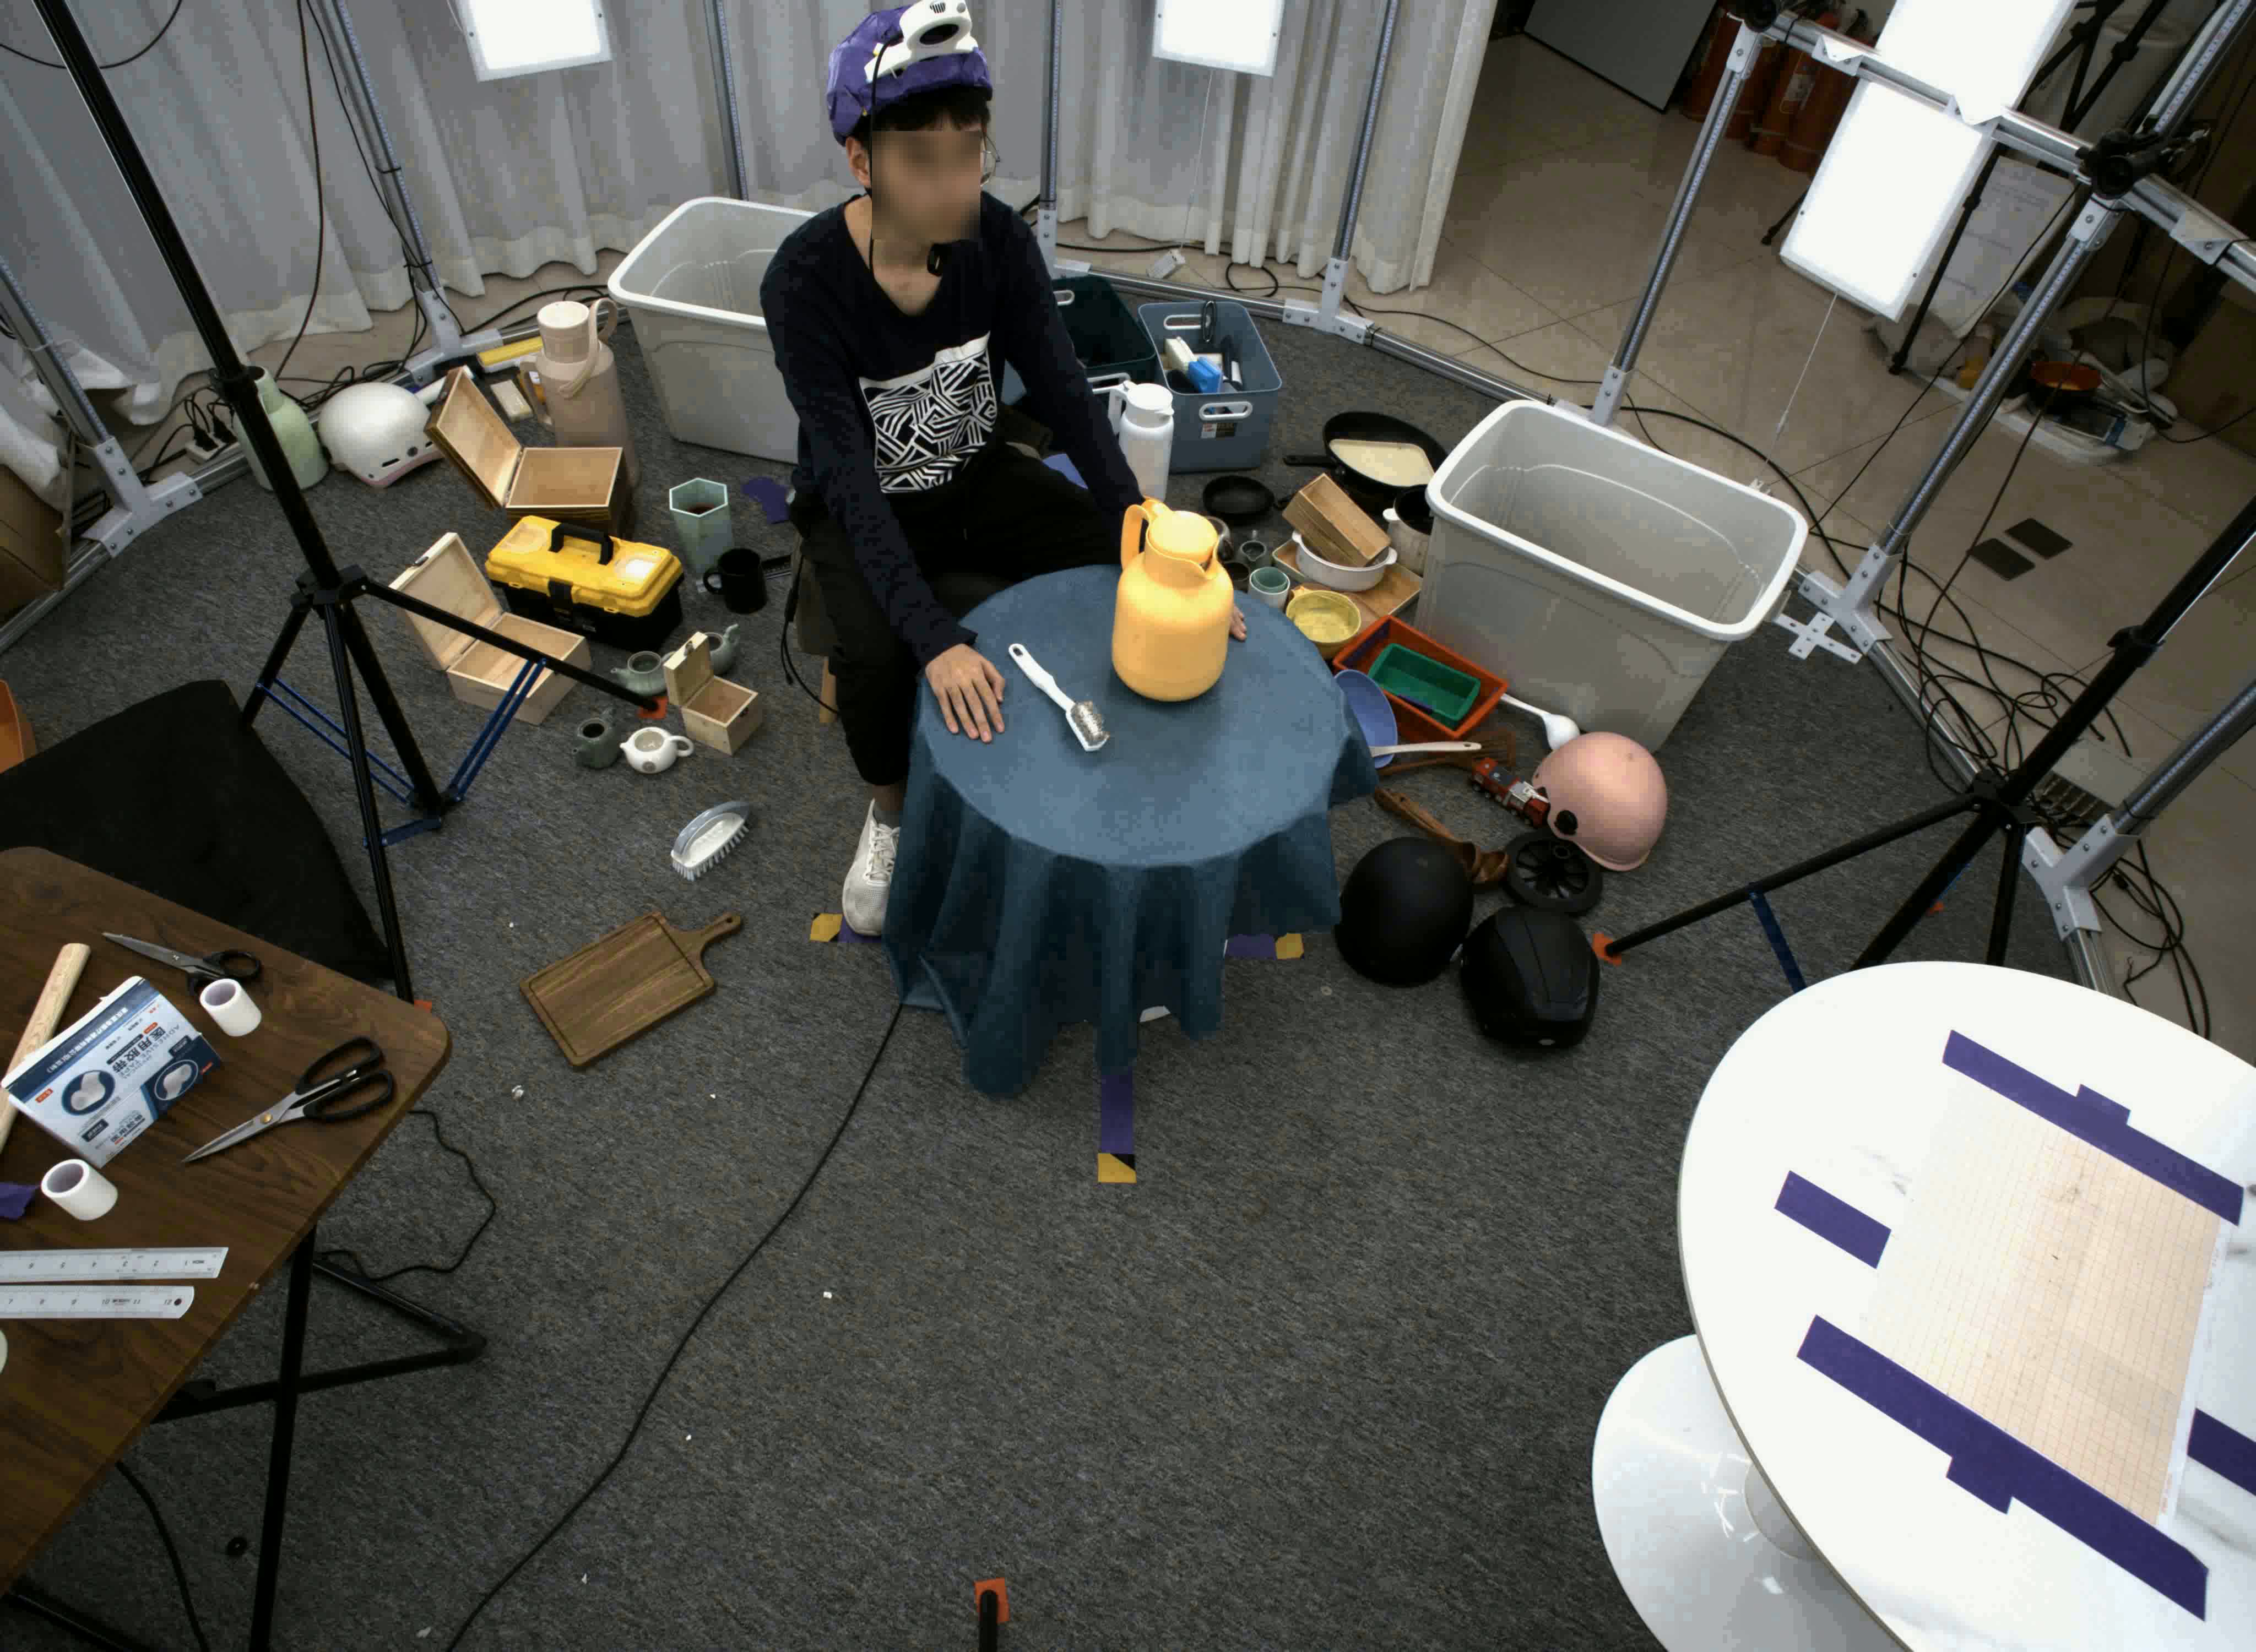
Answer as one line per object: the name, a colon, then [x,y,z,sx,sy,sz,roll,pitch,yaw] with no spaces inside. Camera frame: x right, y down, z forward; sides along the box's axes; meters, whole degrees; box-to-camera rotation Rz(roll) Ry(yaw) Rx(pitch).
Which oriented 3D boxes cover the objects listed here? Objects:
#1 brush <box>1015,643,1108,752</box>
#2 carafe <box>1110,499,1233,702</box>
brush: [-0.098,-0.194,1.799,0.034,0.049,0.249,-23,54,-17]
carafe: [0.054,-0.320,1.782,0.164,0.254,0.206,-20,54,-24]
